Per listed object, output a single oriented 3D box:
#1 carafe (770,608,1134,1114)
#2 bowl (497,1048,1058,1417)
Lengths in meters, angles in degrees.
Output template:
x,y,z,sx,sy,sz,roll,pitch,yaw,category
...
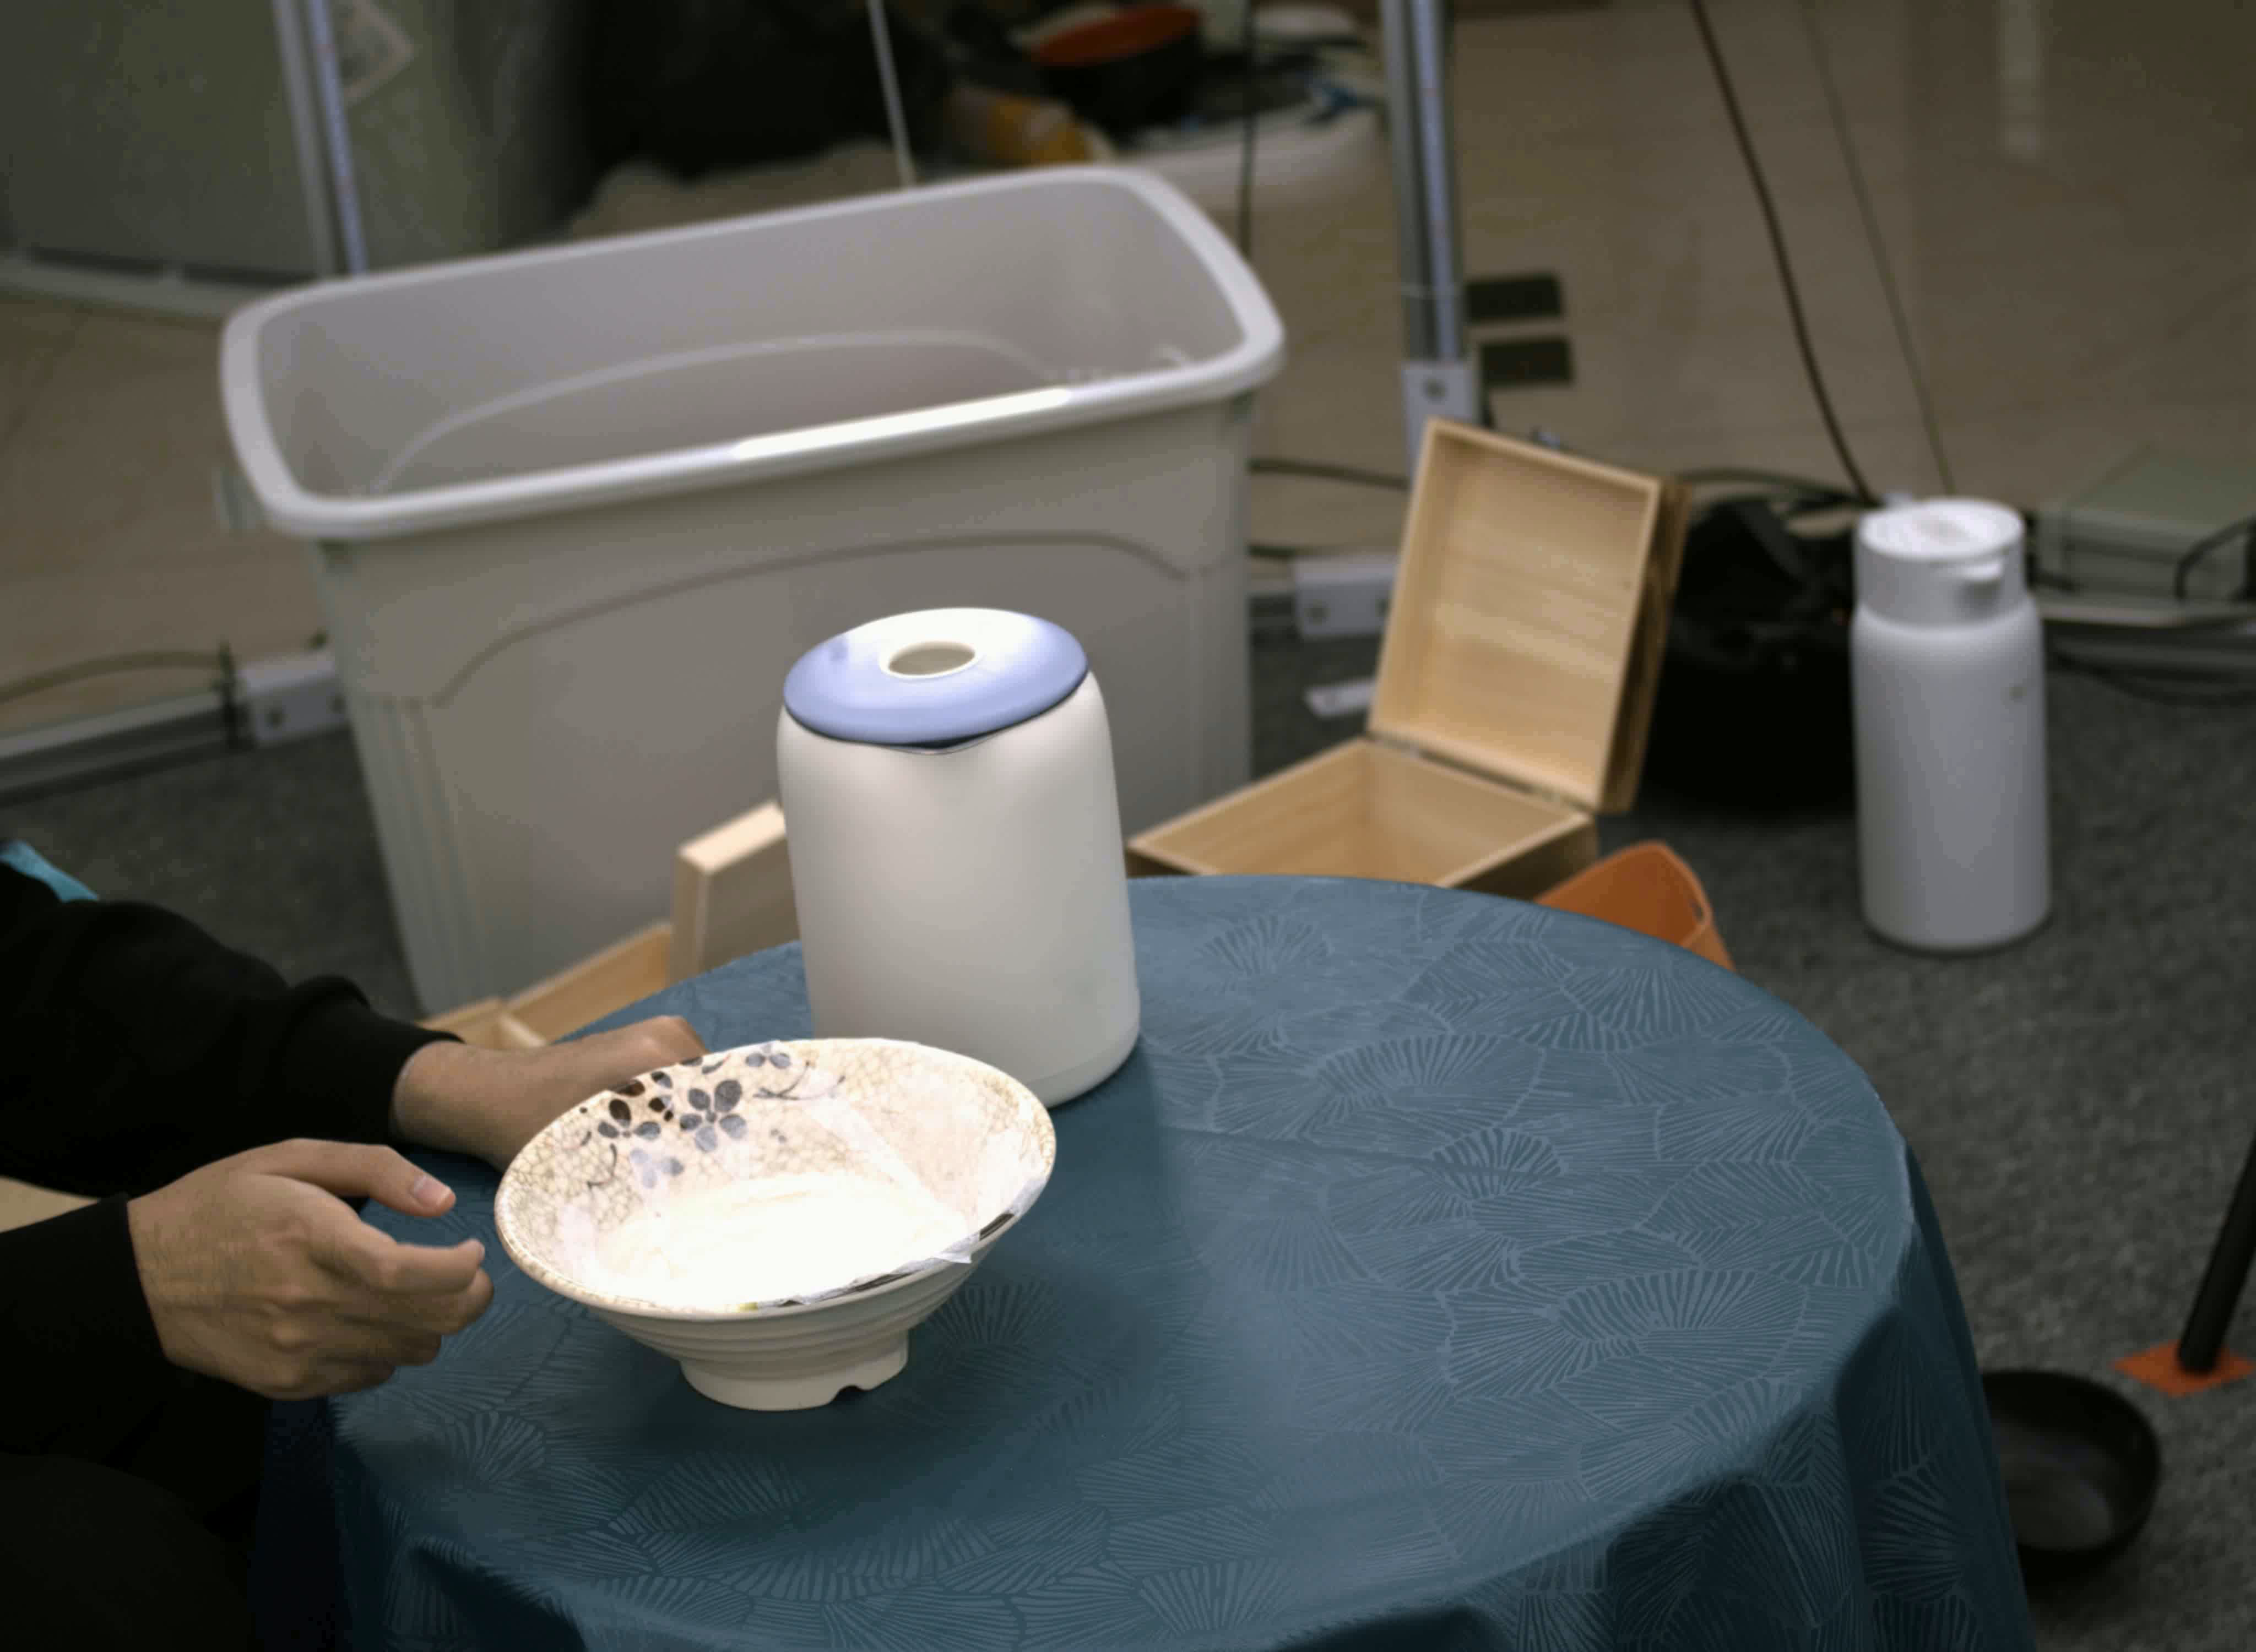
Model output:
x,y,z,sx,sy,sz,roll,pitch,yaw,category
-0.072,0.006,2.242,0.132,0.185,0.188,-7,23,-4,carafe
-0.121,0.158,2.044,0.204,0.079,0.201,-7,24,3,bowl
